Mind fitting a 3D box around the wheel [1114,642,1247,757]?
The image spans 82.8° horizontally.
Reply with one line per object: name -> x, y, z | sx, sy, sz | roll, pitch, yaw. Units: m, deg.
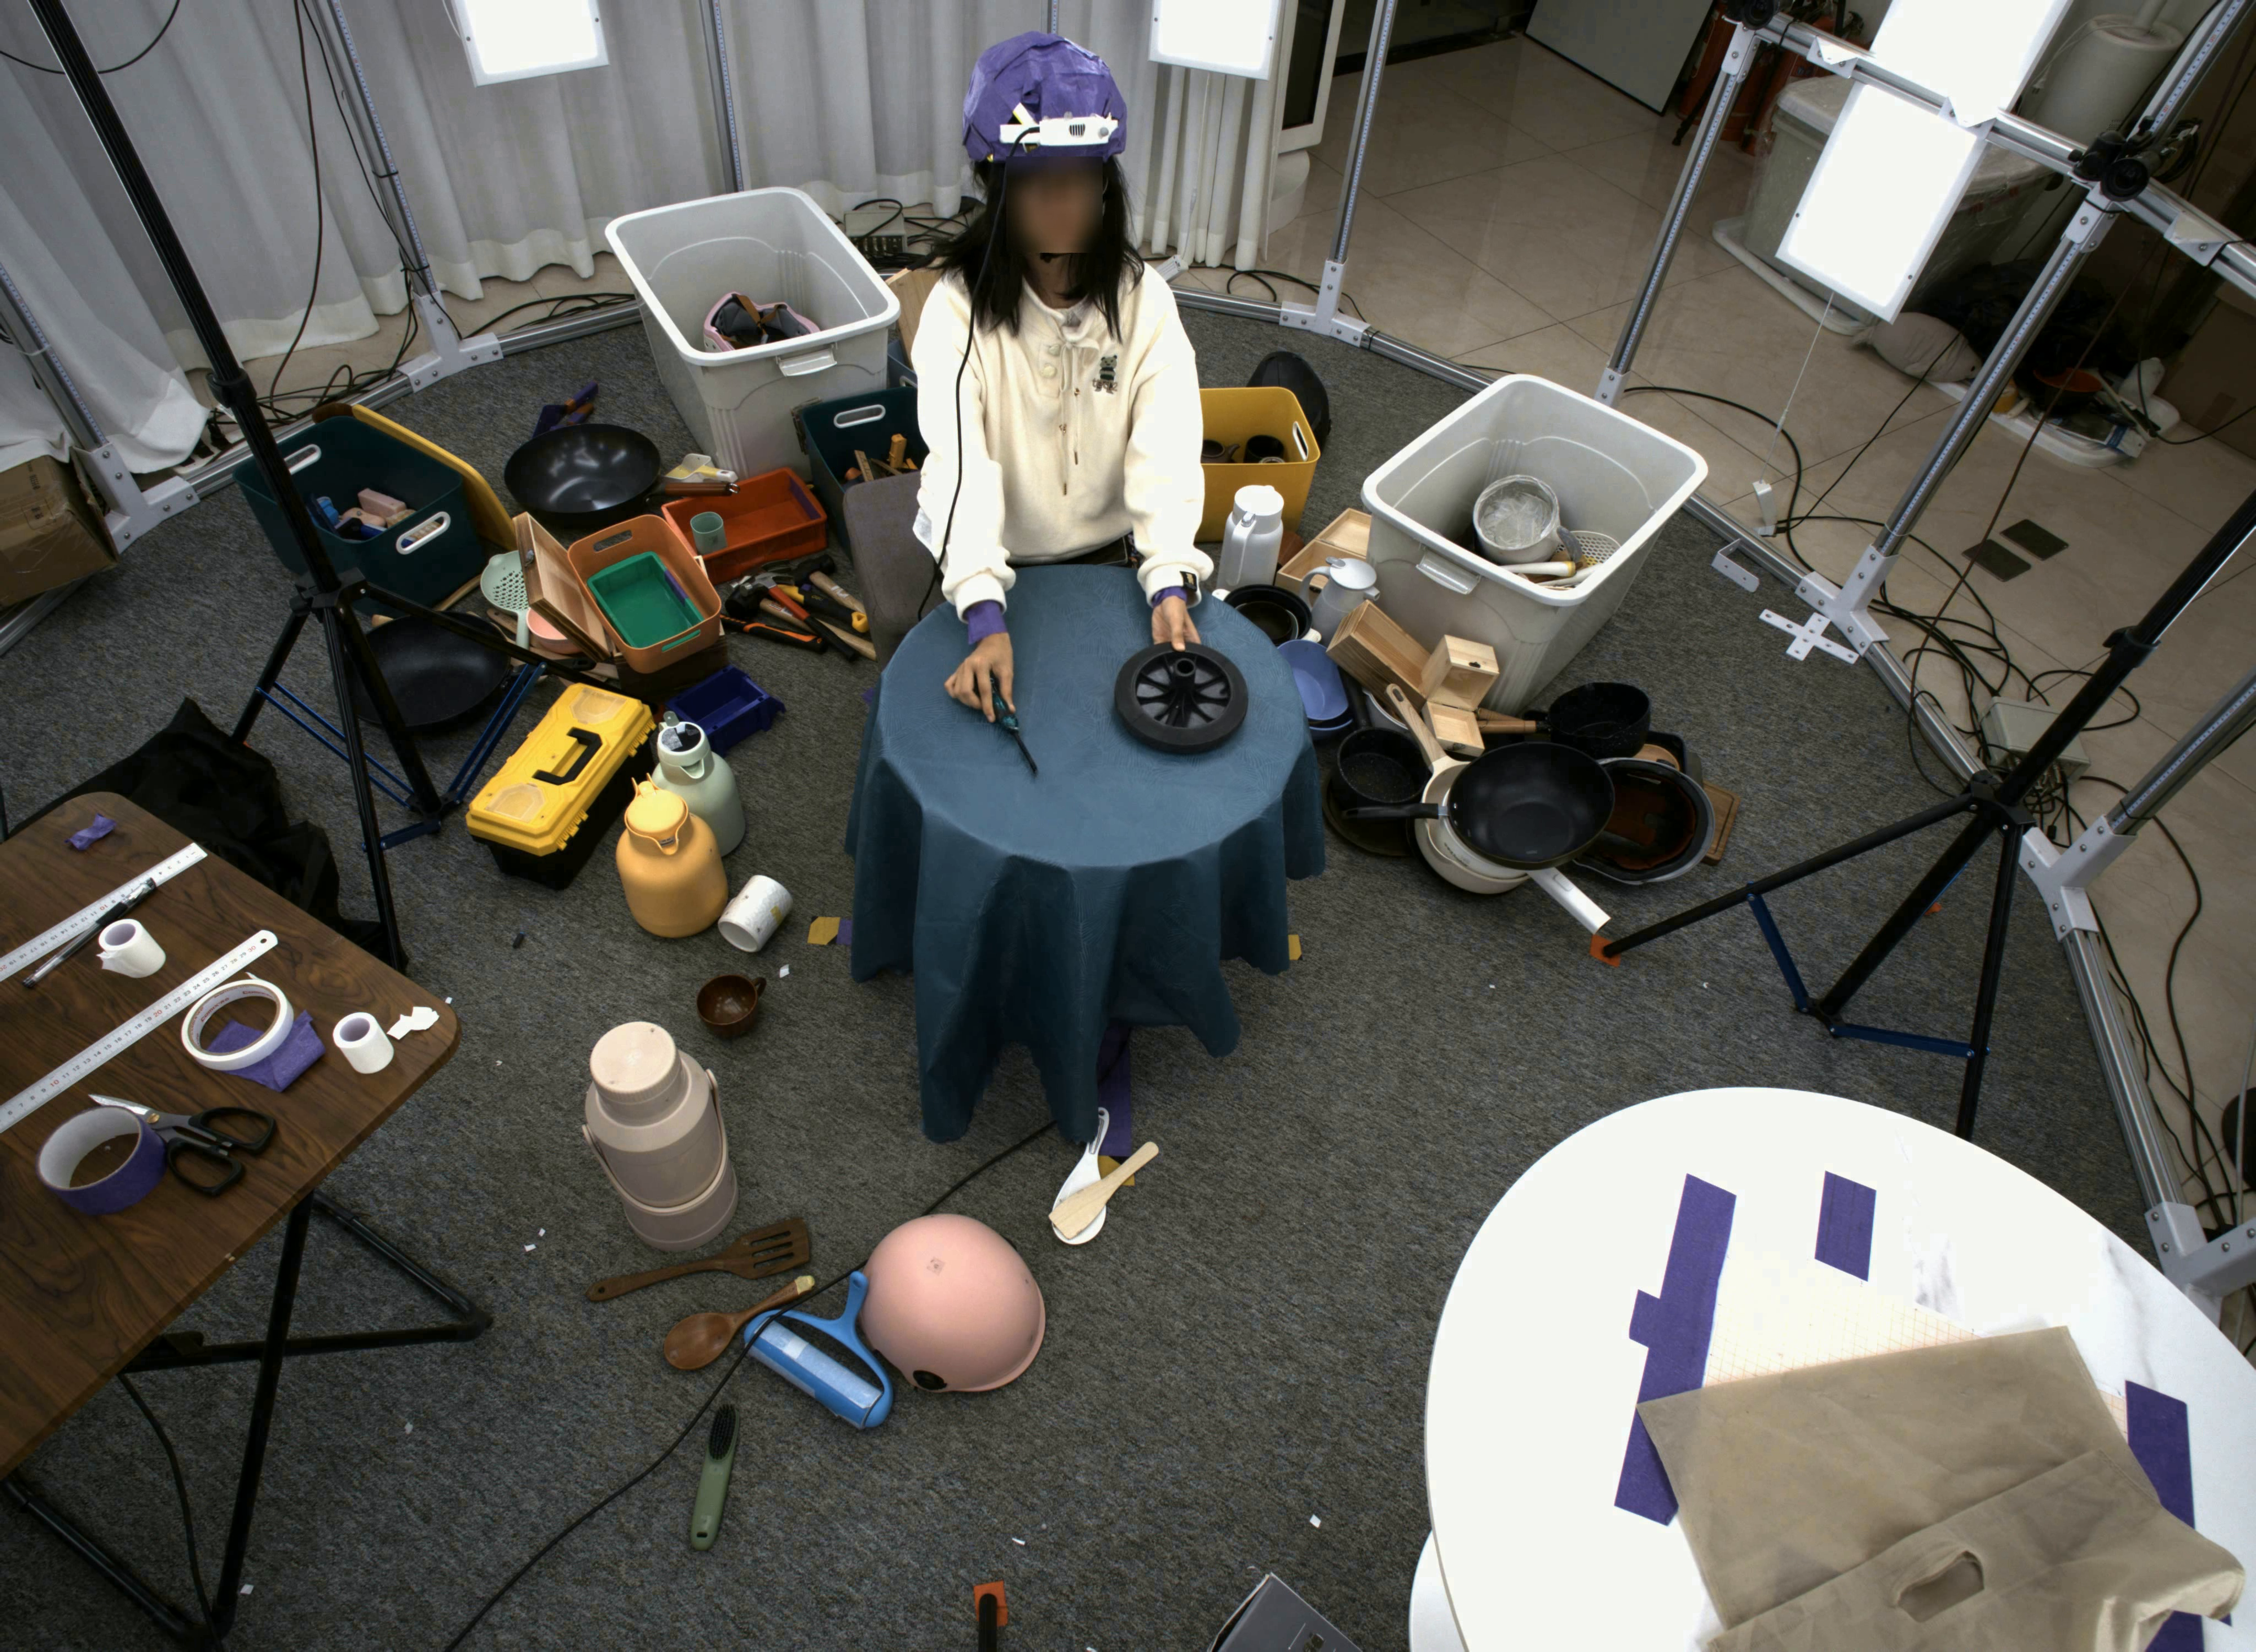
wheel -> 0.075, -0.191, 1.787 | 0.187, 0.077, 0.194 | -3, 58, -4

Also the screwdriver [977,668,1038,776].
screwdriver -> -0.163, -0.142, 1.765 | 0.034, 0.033, 0.194 | -18, 59, -19
